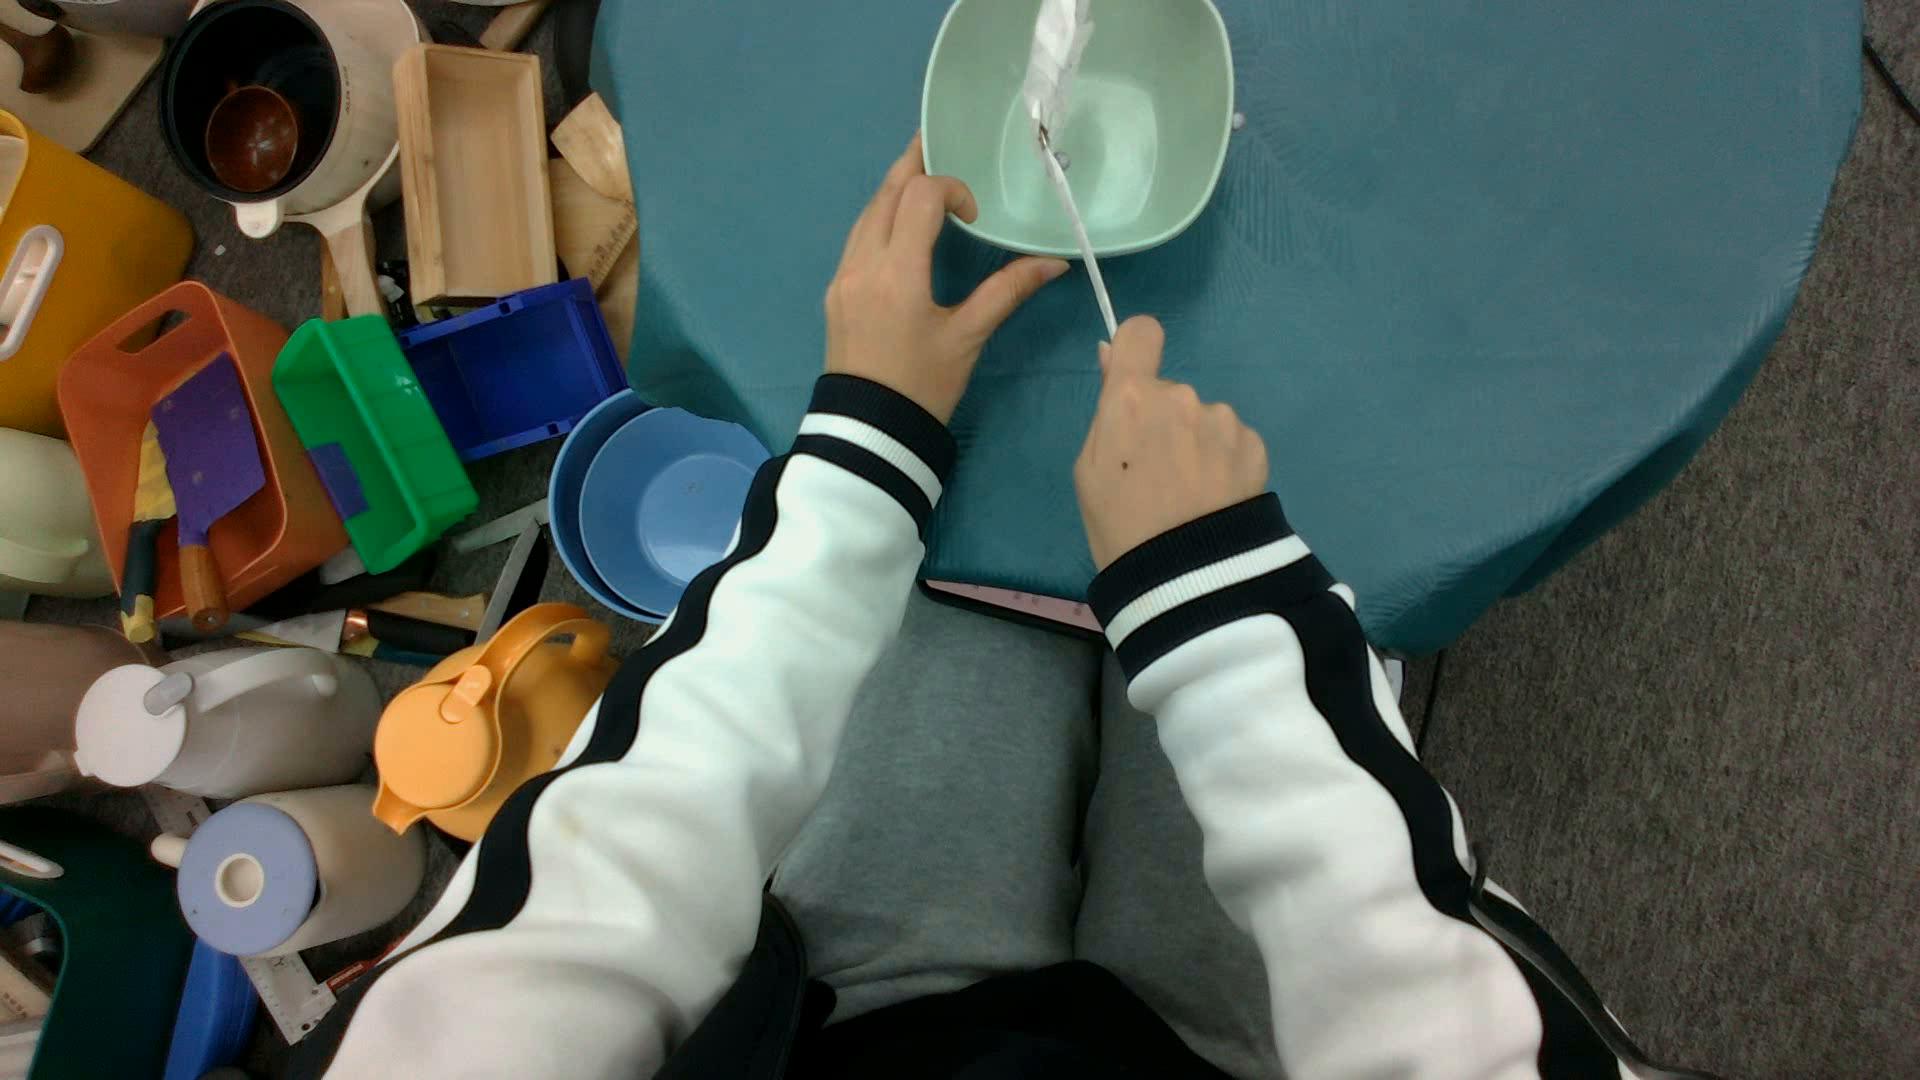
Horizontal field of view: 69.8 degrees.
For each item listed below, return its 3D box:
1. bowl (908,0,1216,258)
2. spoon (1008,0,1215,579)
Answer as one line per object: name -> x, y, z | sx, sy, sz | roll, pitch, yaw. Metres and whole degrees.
bowl -> 0.049, -0.191, 0.648 | 0.151, 0.058, 0.151 | -1, 81, 6
spoon -> 0.075, -0.122, 0.571 | 0.059, 0.100, 0.278 | -21, 78, 2
